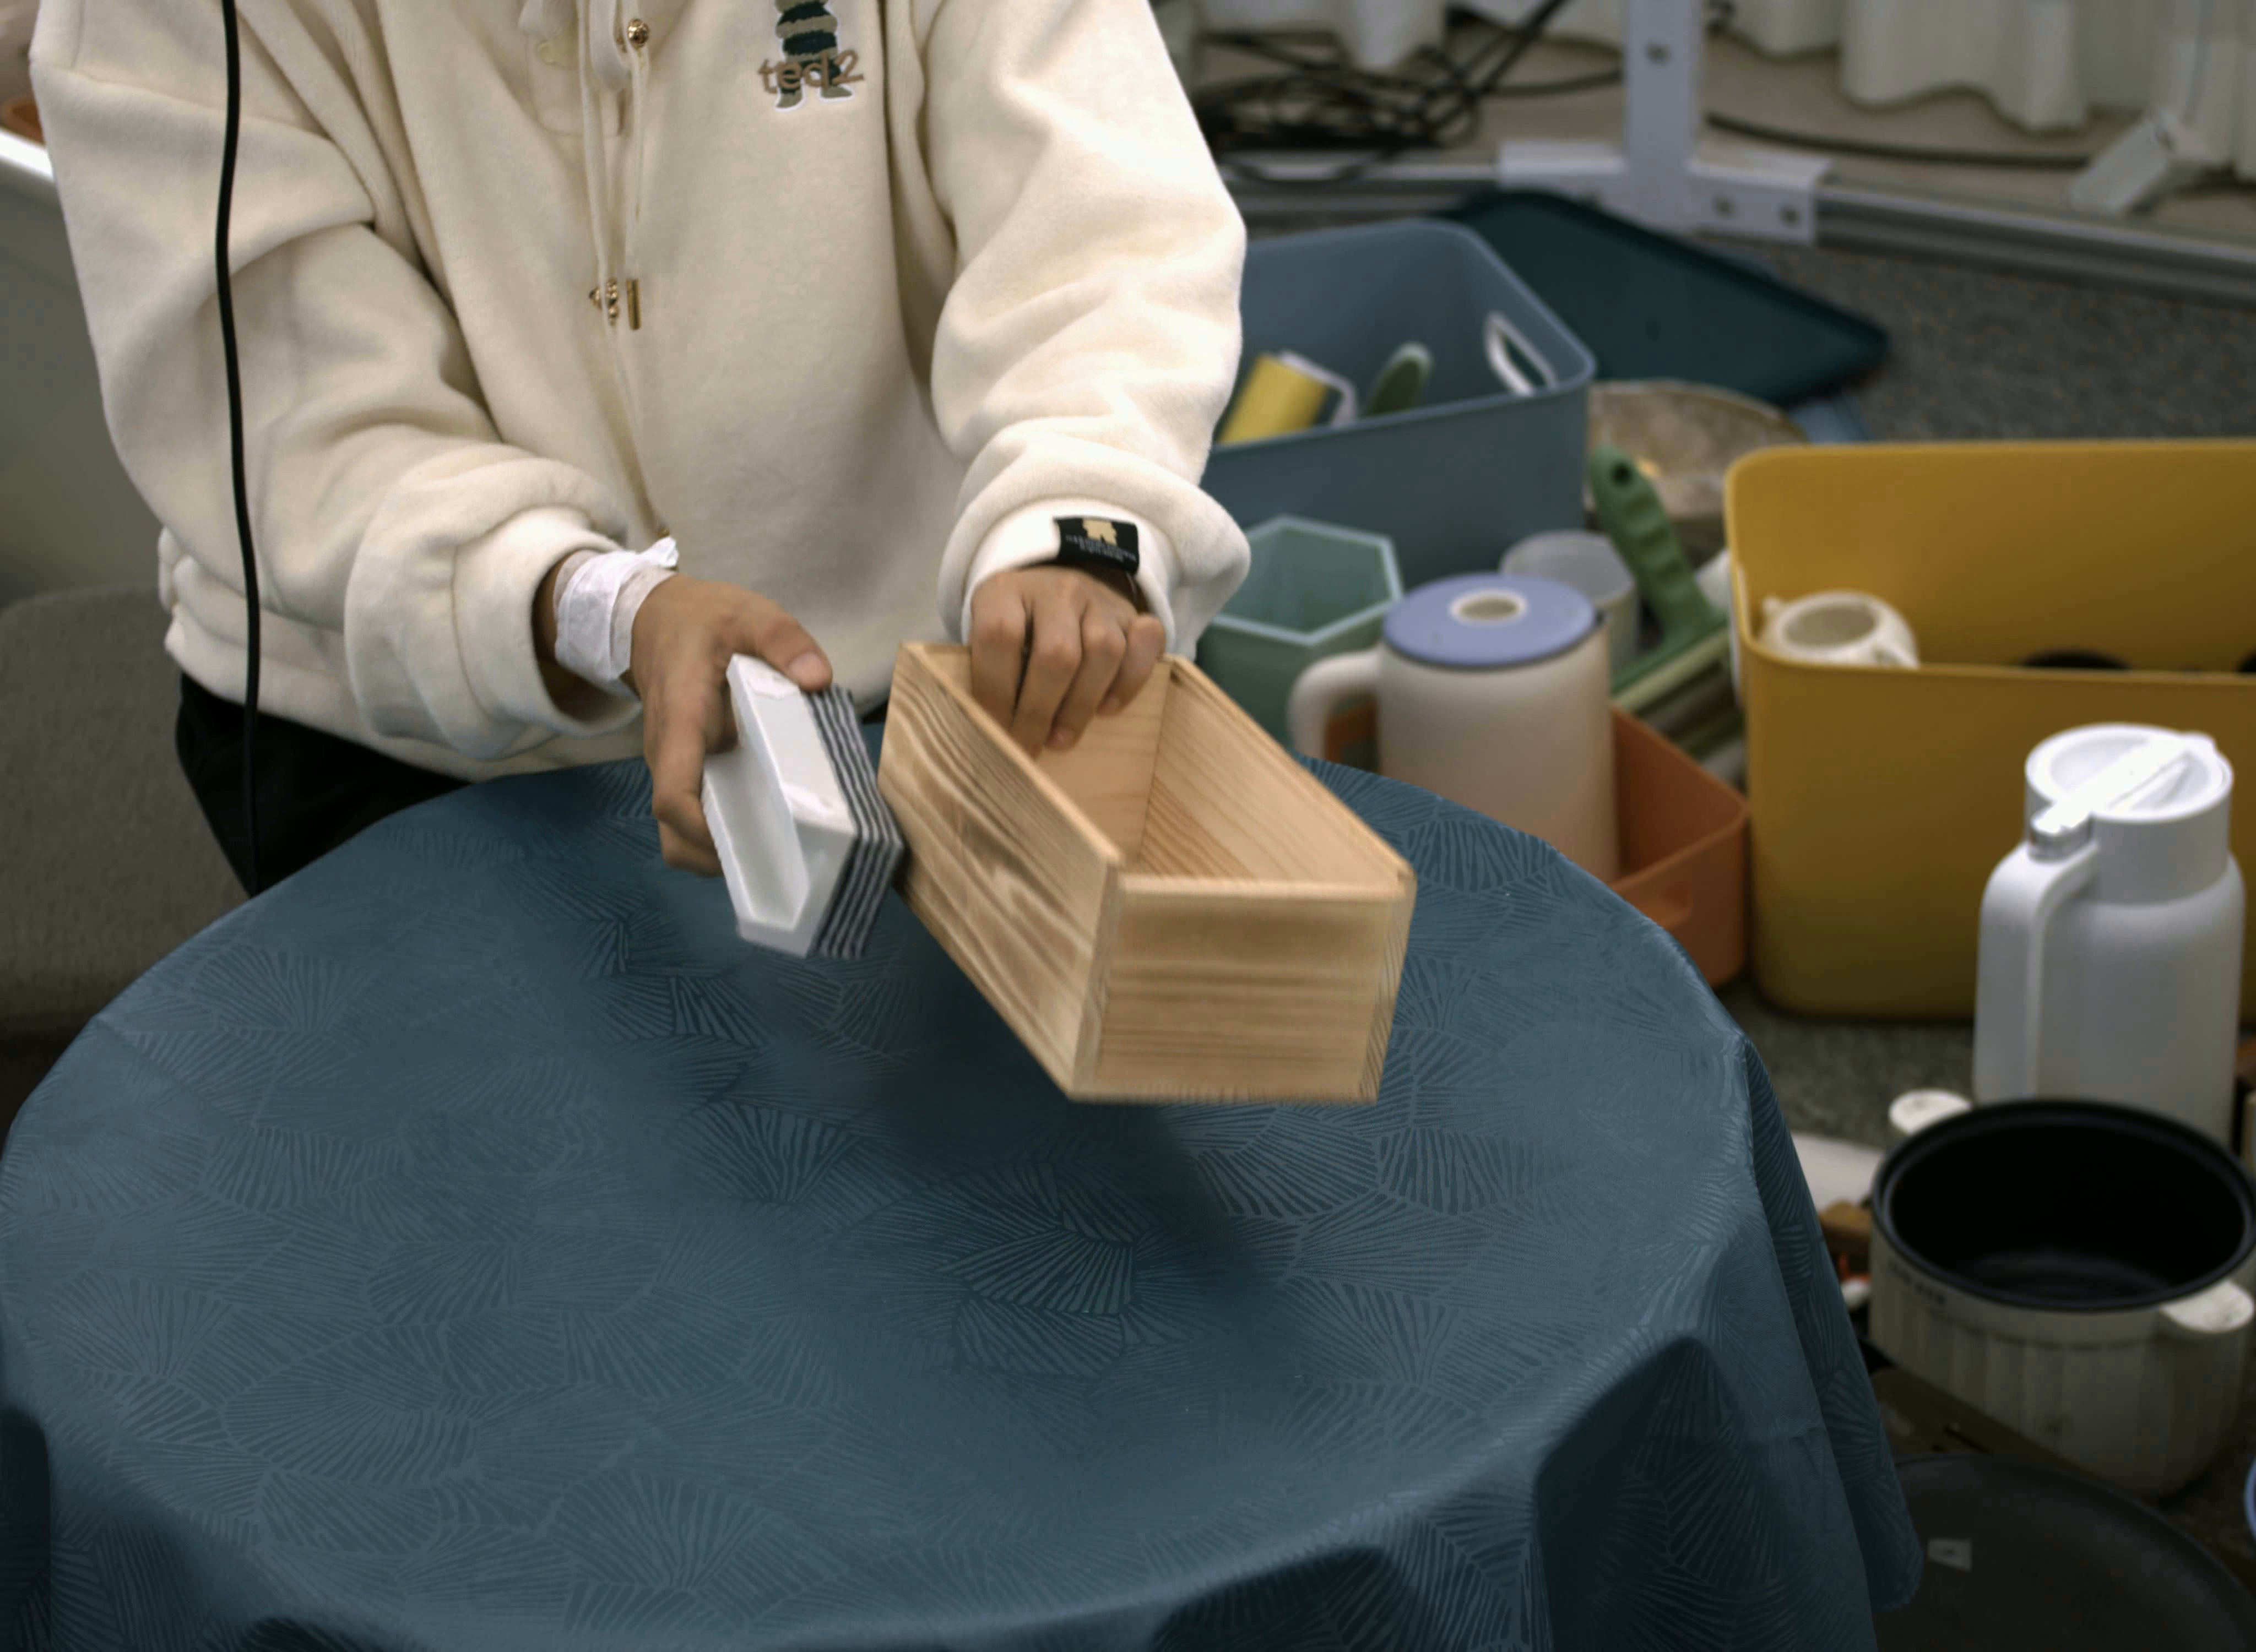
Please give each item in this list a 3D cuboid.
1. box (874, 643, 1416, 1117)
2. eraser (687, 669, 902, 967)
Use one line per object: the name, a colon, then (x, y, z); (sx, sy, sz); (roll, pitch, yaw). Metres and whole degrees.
box: (0.000, 0.015, 1.842); (0.107, 0.079, 0.213); (3, 20, -23)
eraser: (-0.115, -0.003, 1.932); (0.046, 0.049, 0.135); (14, 19, -20)
